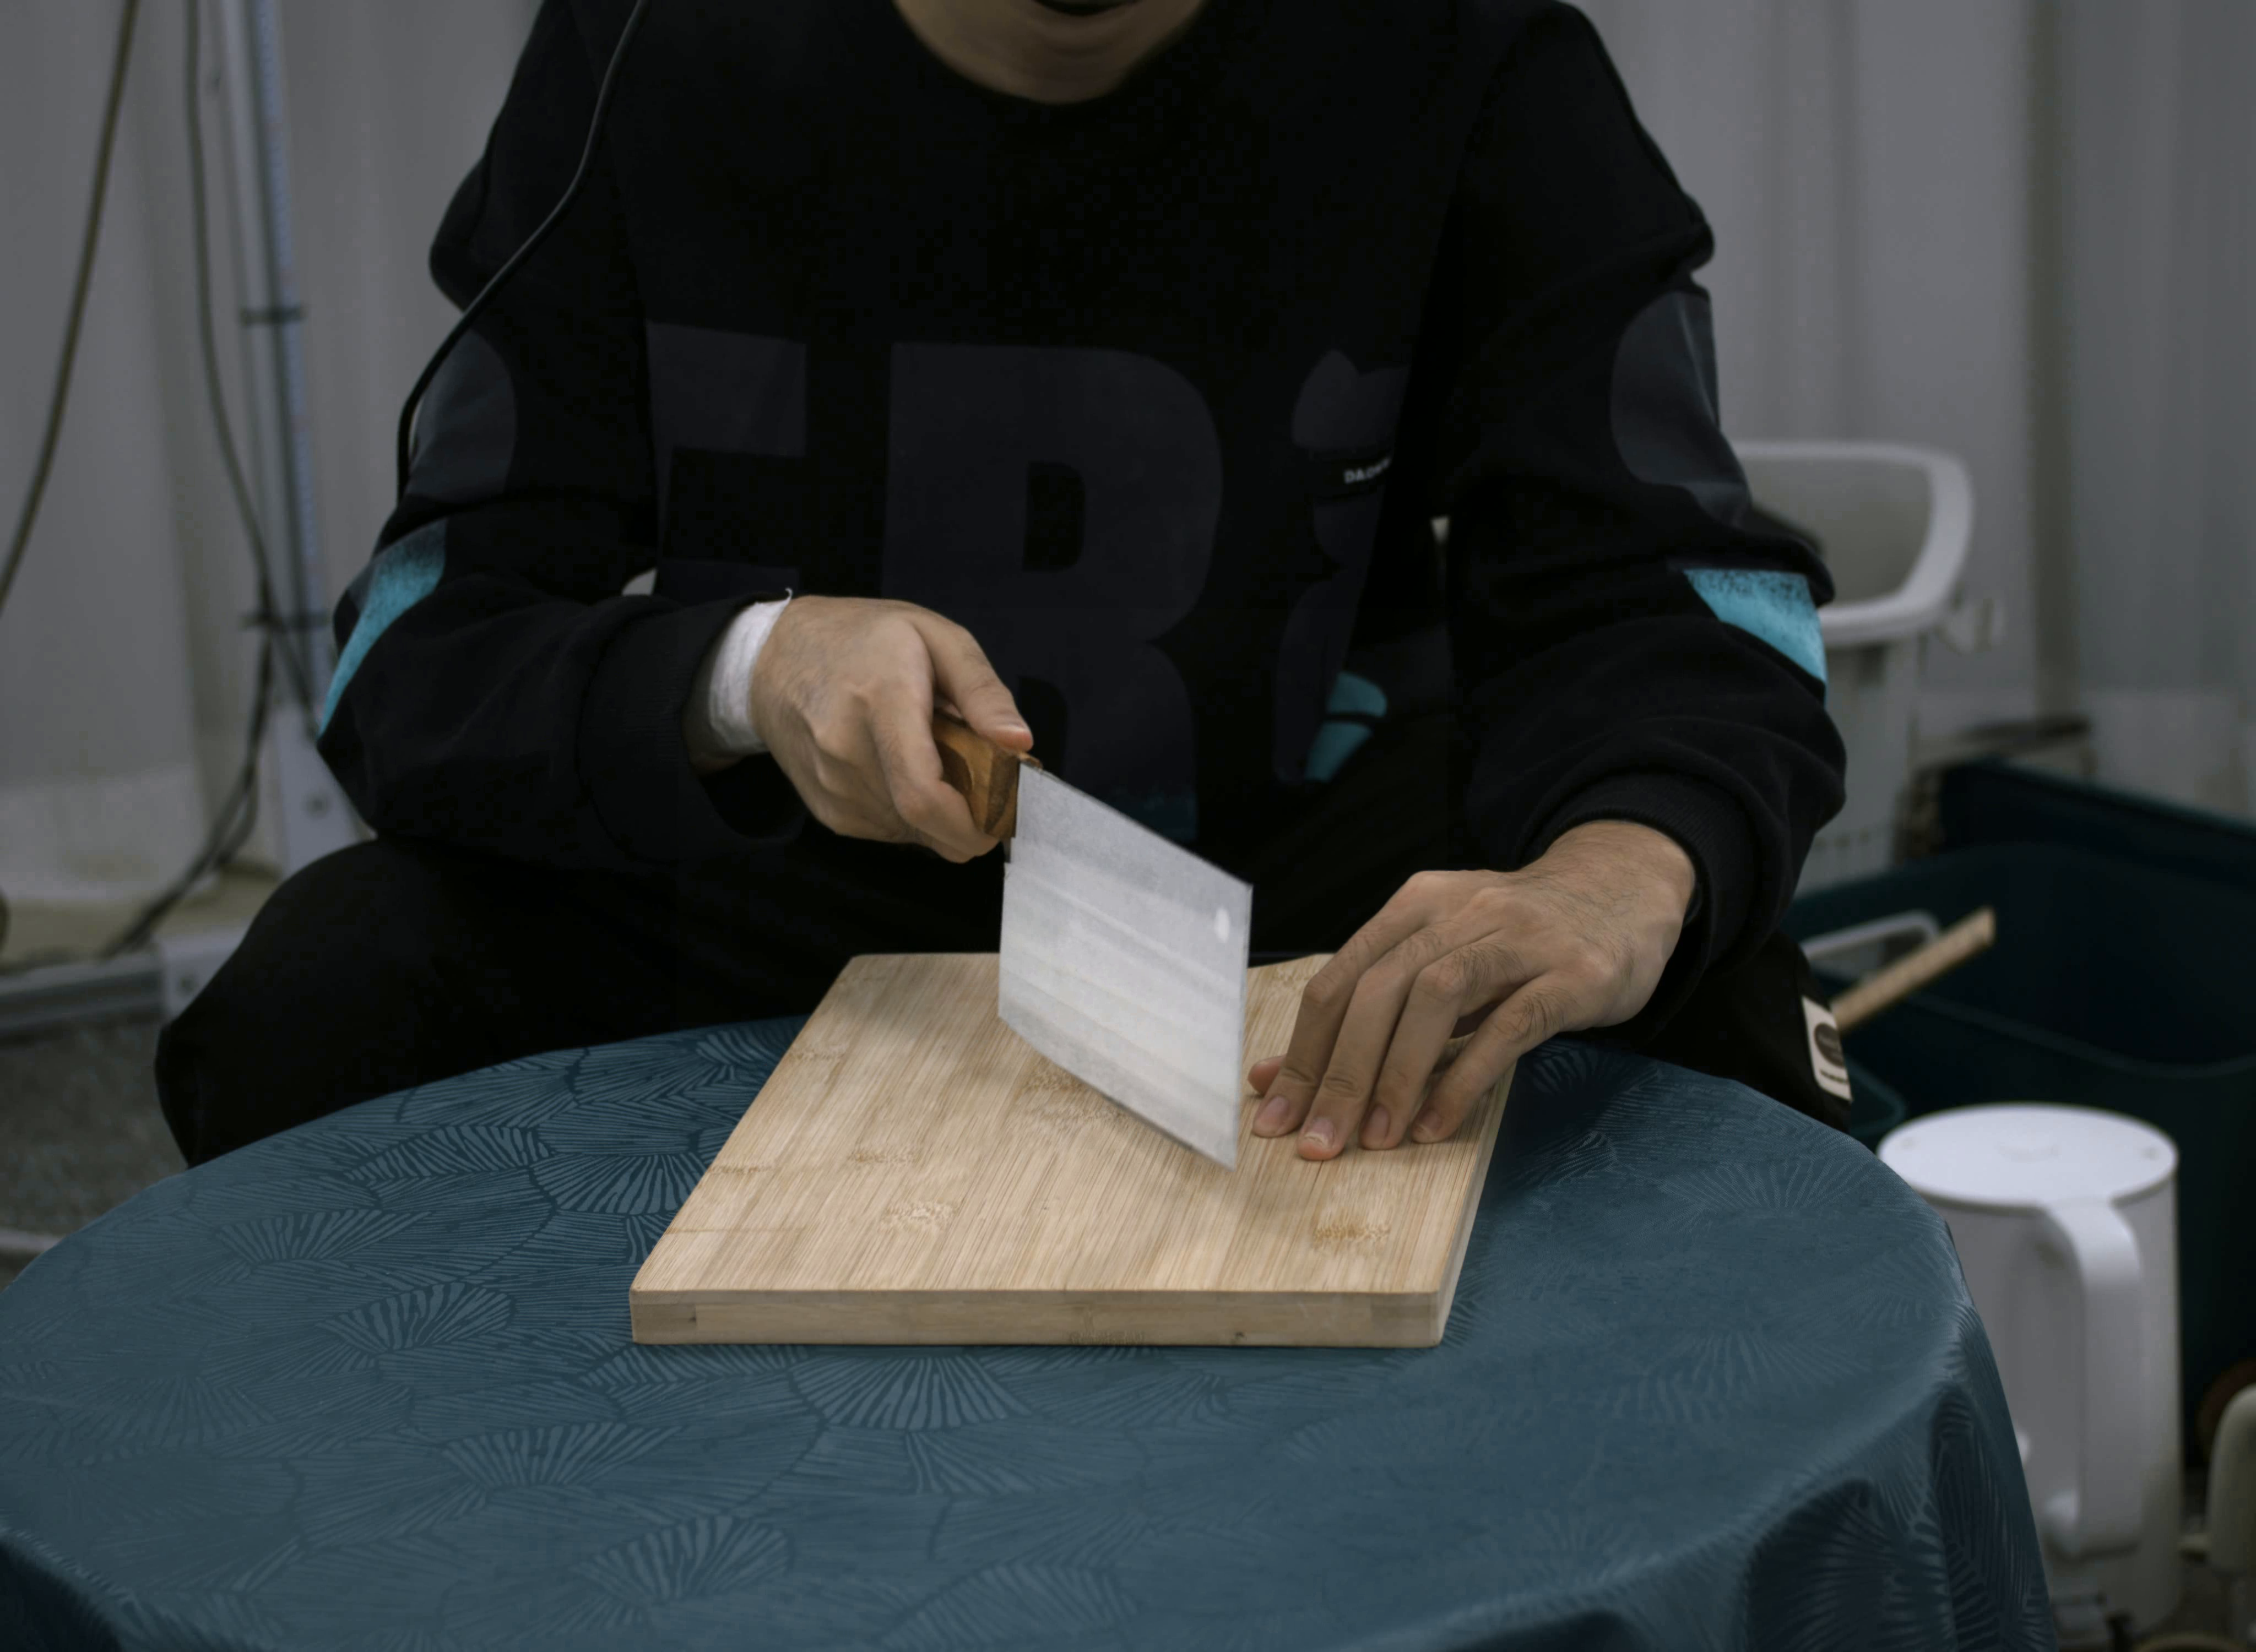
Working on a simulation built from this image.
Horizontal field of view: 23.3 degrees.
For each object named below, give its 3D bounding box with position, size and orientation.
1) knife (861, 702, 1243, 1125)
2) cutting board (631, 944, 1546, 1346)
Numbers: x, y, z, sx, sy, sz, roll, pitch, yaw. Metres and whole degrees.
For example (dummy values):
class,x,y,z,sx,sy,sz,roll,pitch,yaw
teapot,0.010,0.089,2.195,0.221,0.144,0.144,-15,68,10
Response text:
class,x,y,z,sx,sy,sz,roll,pitch,yaw
knife,-0.027,0.027,1.753,0.021,0.092,0.308,-2,13,-23
cutting board,-0.001,0.097,1.749,0.250,0.023,0.350,-1,15,8
